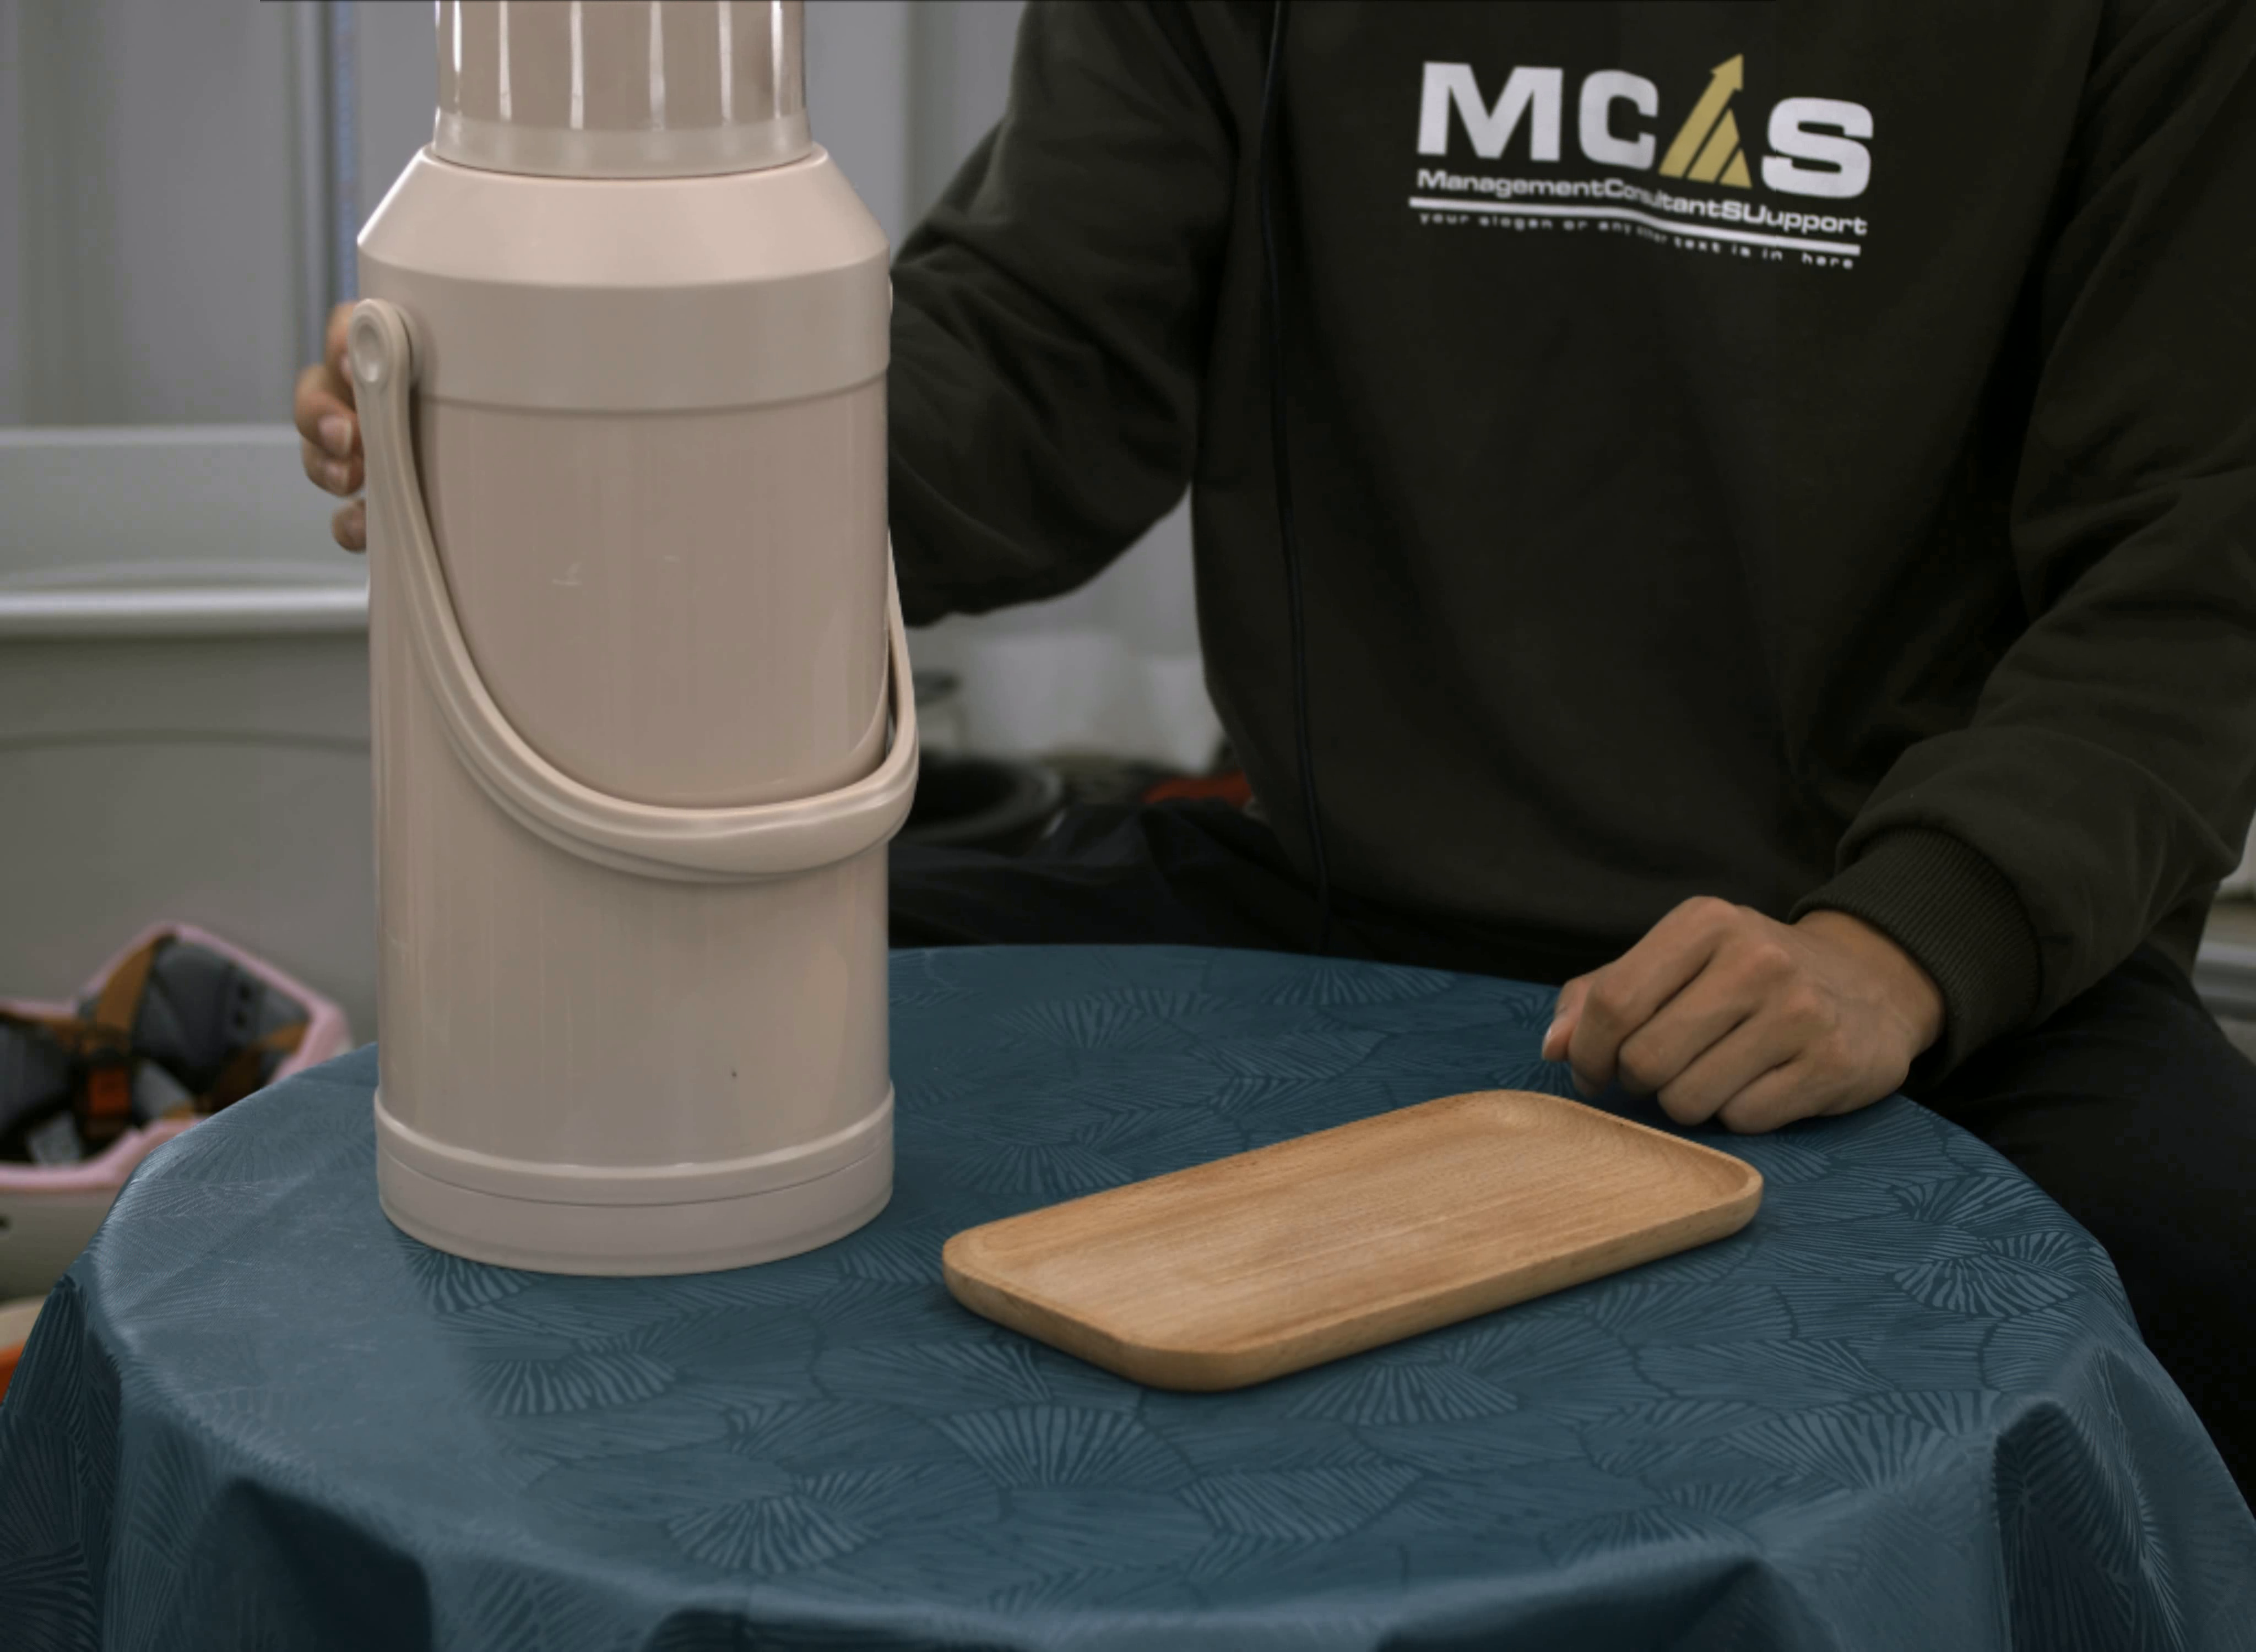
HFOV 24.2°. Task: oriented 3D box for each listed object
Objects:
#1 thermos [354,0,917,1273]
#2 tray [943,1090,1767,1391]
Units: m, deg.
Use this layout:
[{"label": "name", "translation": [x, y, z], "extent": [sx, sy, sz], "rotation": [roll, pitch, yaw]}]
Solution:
[{"label": "thermos", "translation": [-0.155, -0.083, 1.580], "extent": [0.176, 0.410, 0.204], "rotation": [-14, 22, -37]}, {"label": "tray", "translation": [0.070, 0.122, 1.572], "extent": [0.252, 0.023, 0.129], "rotation": [-11, 22, -39]}]
